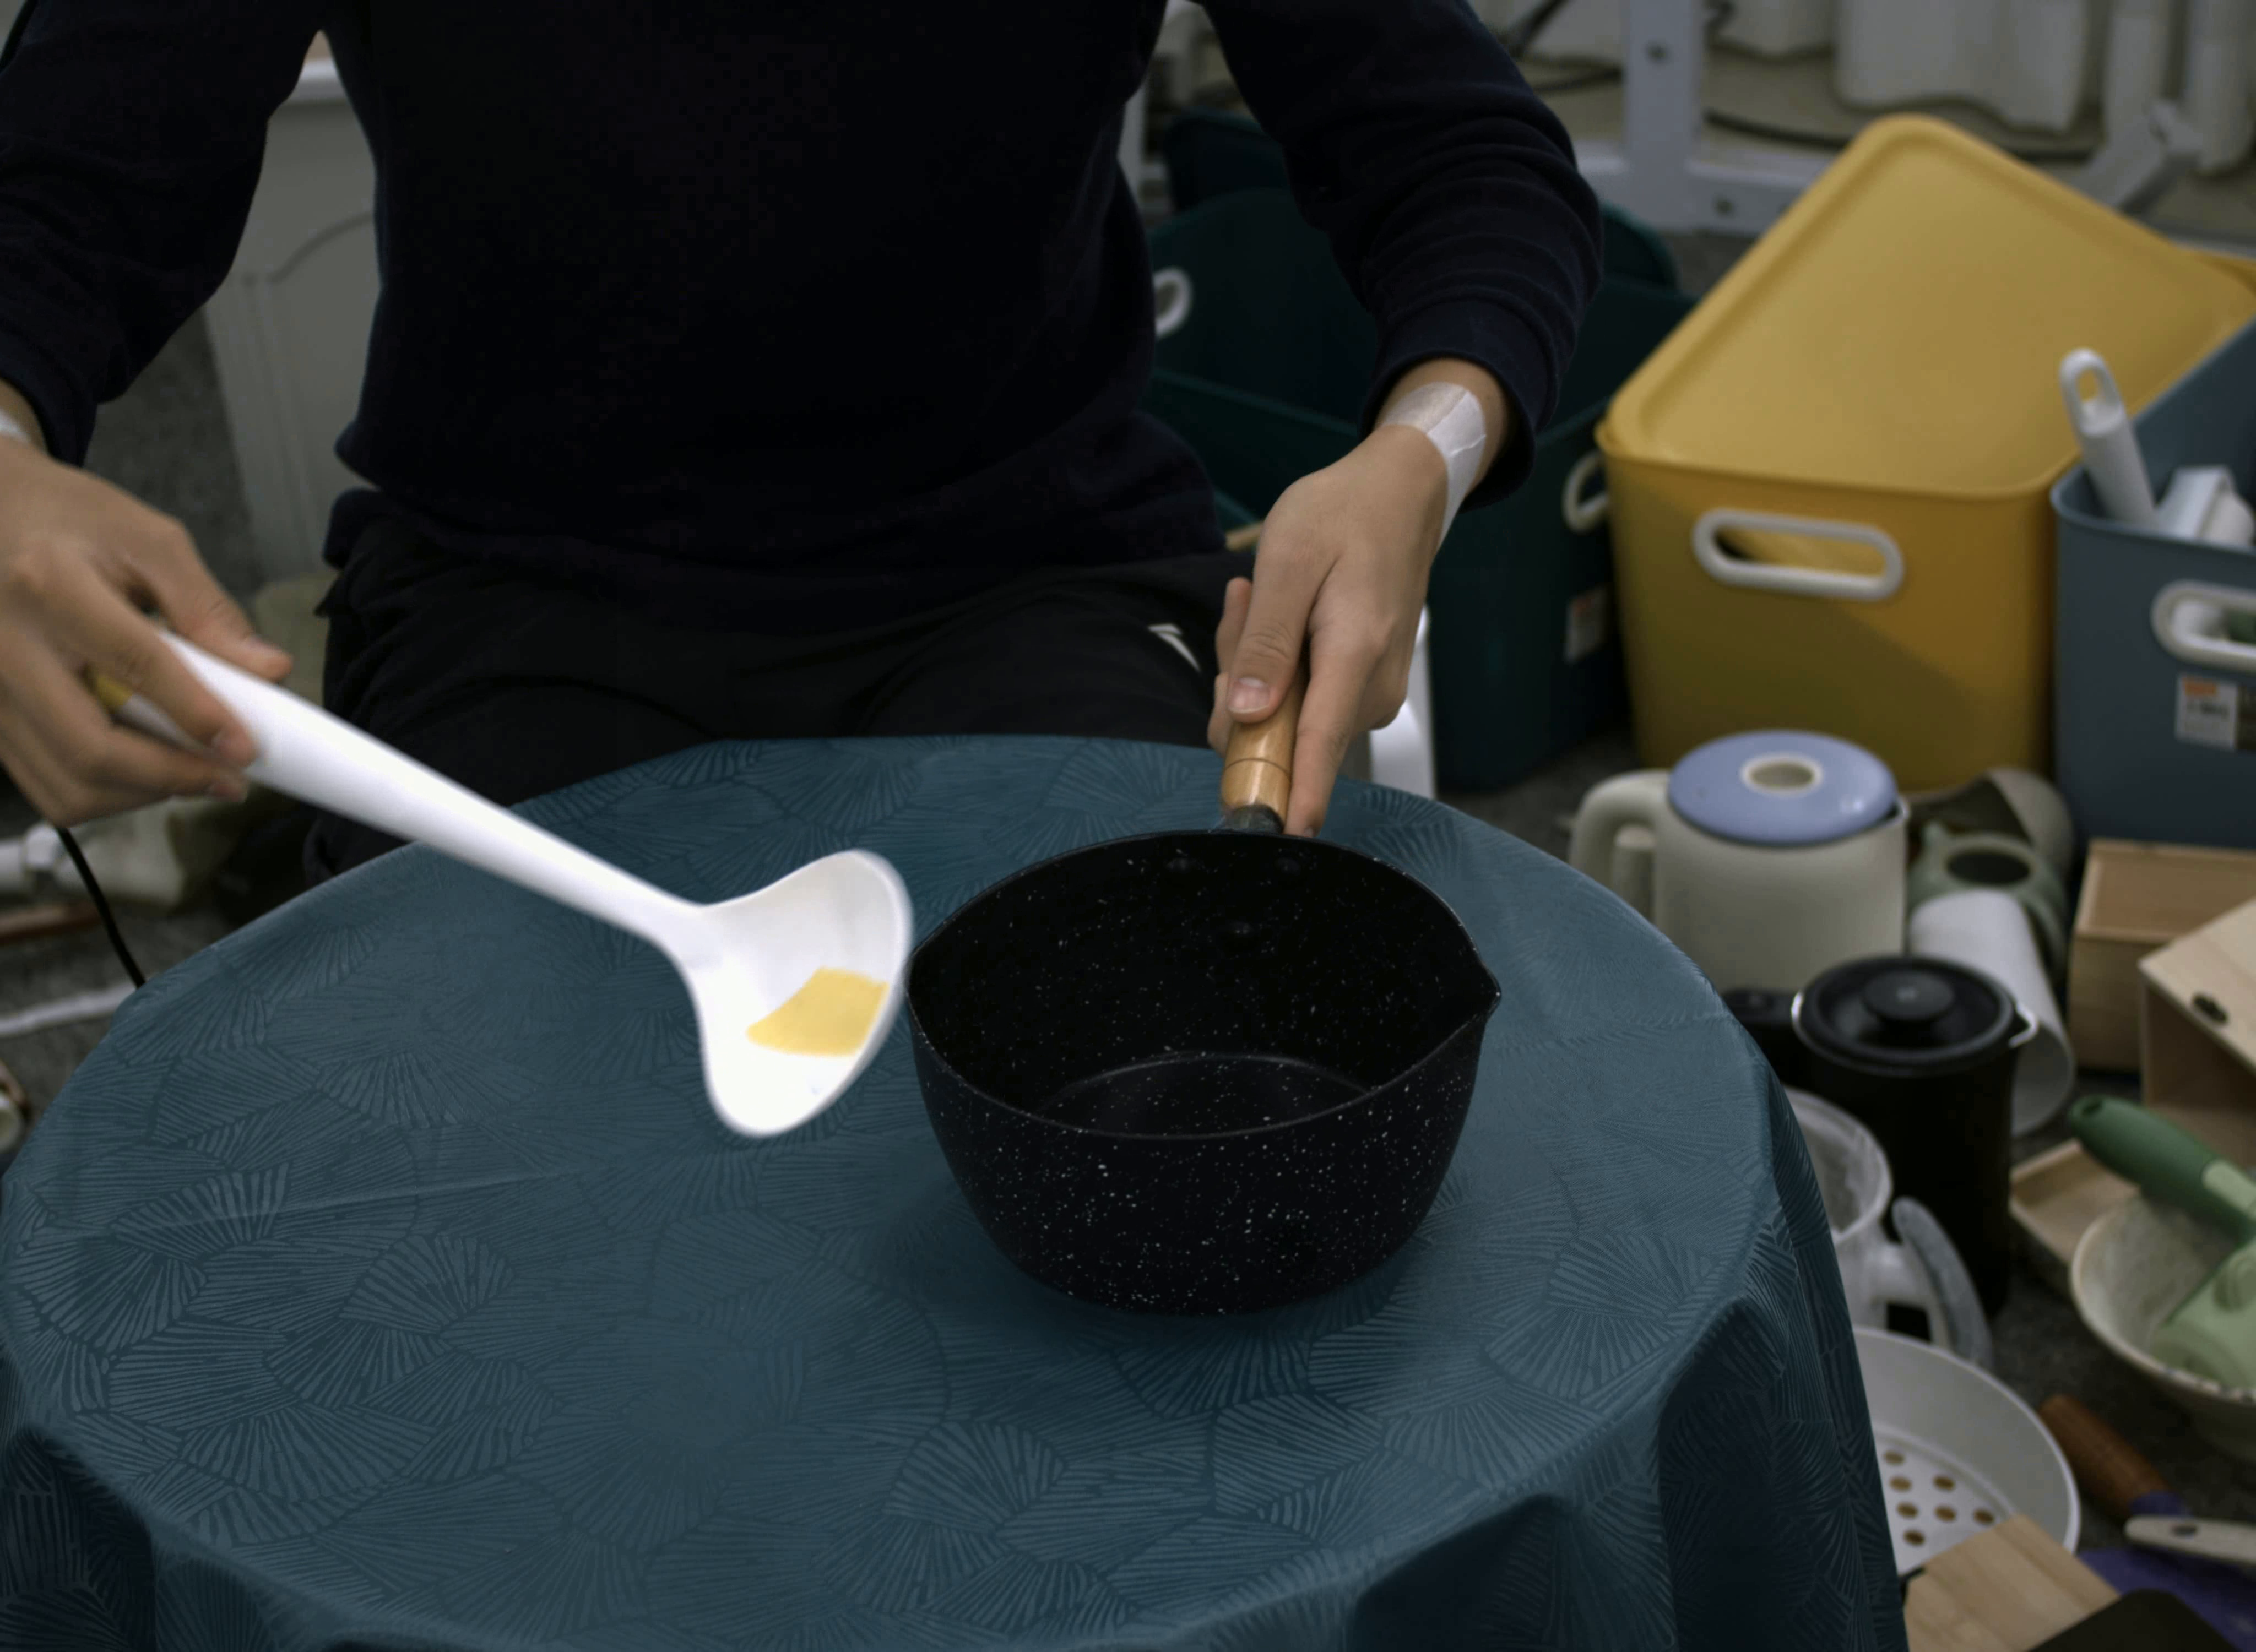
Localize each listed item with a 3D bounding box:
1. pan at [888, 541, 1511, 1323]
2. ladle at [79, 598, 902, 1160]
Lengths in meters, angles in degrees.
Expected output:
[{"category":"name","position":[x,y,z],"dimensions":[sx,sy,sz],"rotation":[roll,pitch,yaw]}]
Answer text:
[{"category":"pan","position":[0.034,0.033,1.897],"dimensions":[0.206,0.107,0.349],"rotation":[1,32,9]},{"category":"ladle","position":[-0.196,0.006,1.701],"dimensions":[0.292,0.090,0.070],"rotation":[27,3,12]}]
